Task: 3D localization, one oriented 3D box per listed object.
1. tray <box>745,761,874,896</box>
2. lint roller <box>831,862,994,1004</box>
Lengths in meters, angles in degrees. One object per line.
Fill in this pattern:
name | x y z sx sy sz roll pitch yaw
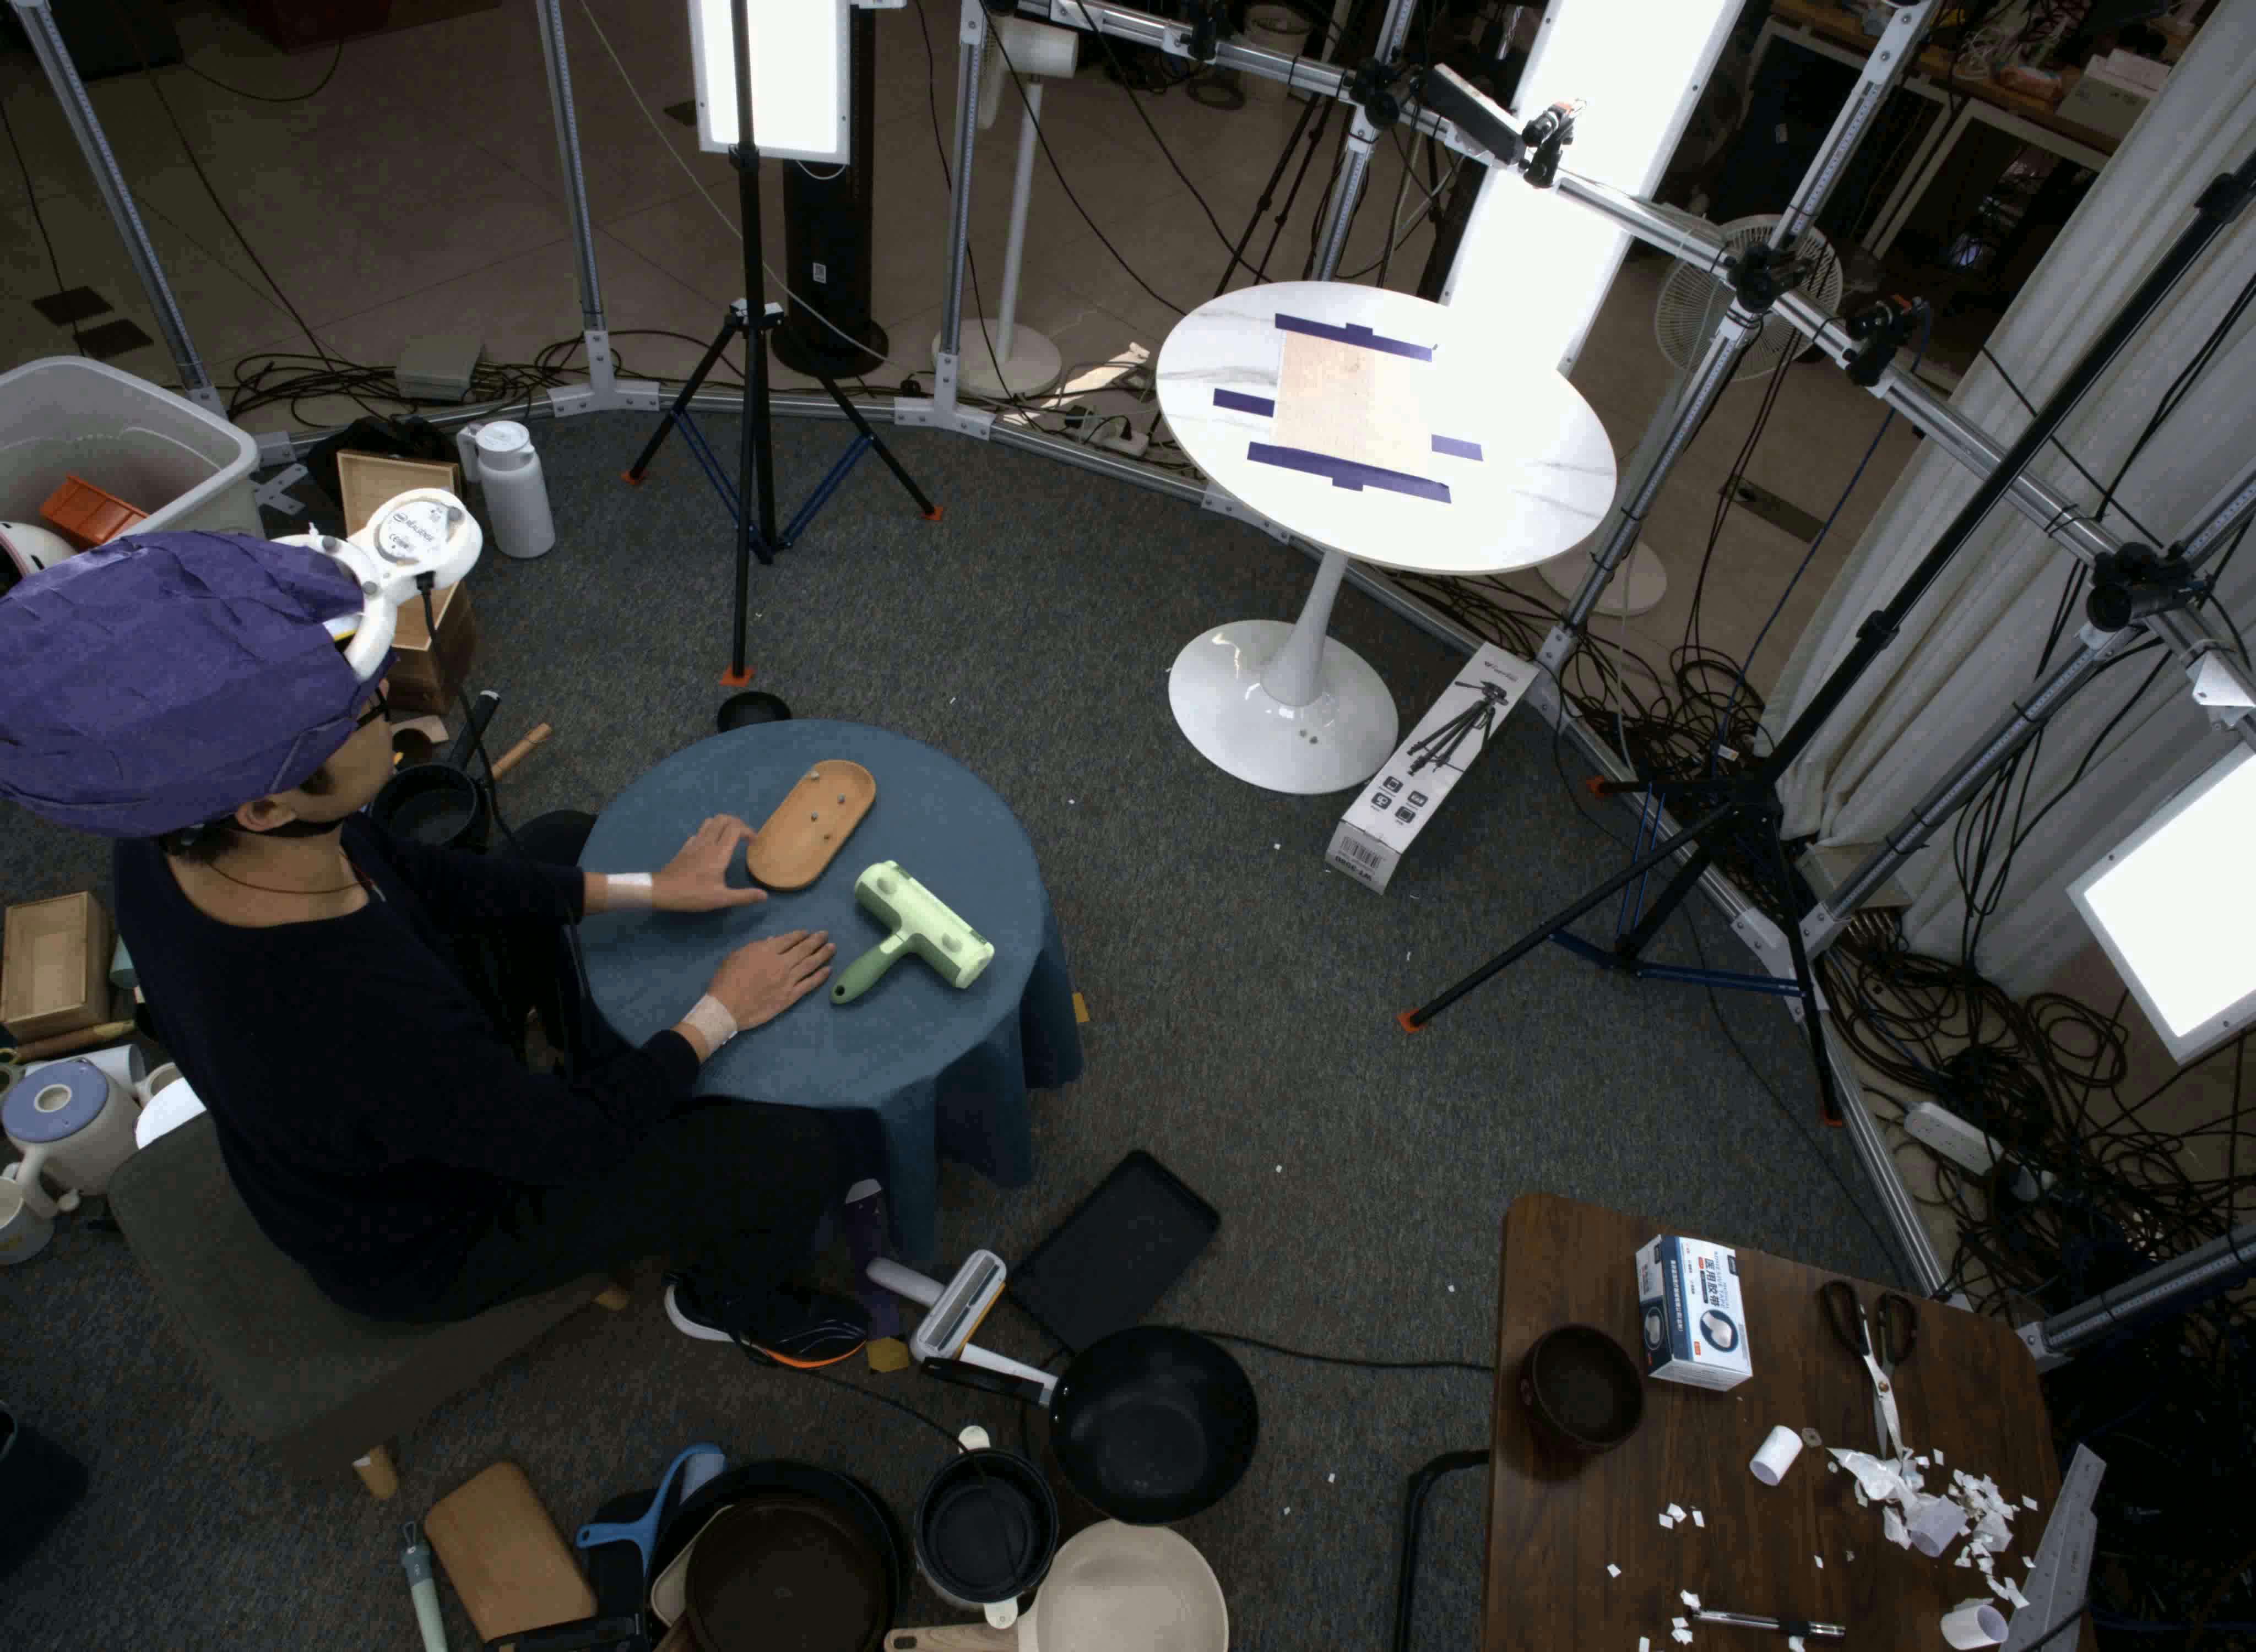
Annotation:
tray | -0.417 0.000 1.706 0.100 0.021 0.229 24 53 4
lint roller | -0.291 0.141 1.587 0.194 0.084 0.183 38 48 15
